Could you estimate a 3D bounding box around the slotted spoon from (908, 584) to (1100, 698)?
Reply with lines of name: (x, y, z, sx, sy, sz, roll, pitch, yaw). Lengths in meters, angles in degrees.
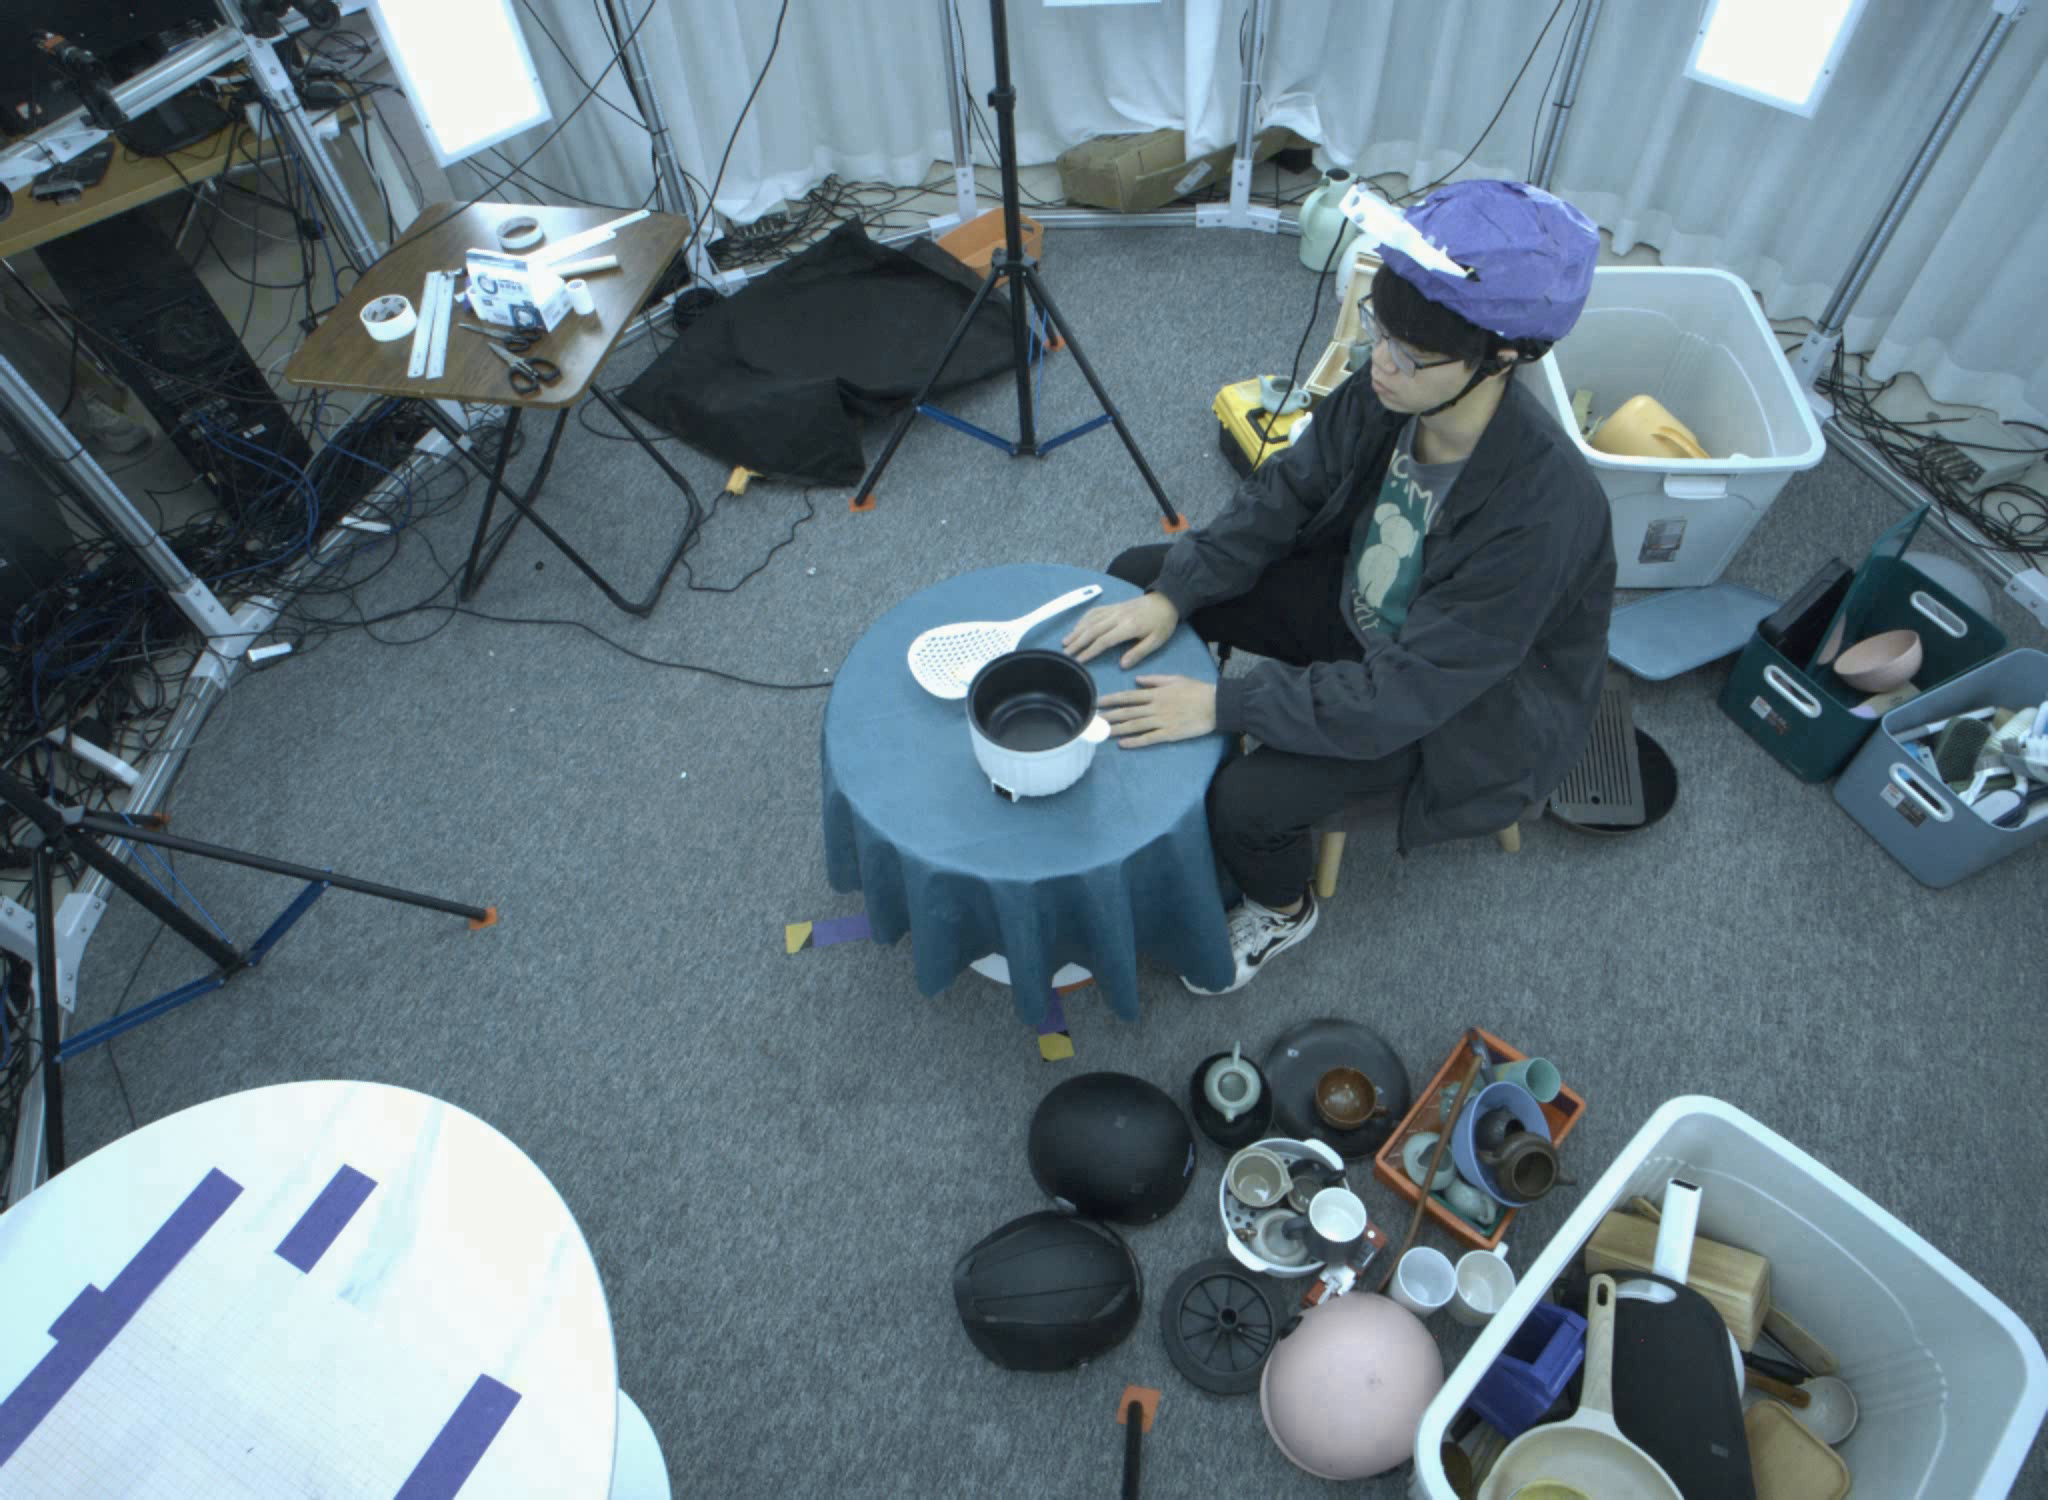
slotted spoon: (-0.016, -0.180, 1.882, 0.350, 0.051, 0.134, -32, 64, -19)

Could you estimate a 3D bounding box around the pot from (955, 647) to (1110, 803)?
pot: (0.016, -0.036, 1.719, 0.237, 0.144, 0.191, 26, 63, 18)
